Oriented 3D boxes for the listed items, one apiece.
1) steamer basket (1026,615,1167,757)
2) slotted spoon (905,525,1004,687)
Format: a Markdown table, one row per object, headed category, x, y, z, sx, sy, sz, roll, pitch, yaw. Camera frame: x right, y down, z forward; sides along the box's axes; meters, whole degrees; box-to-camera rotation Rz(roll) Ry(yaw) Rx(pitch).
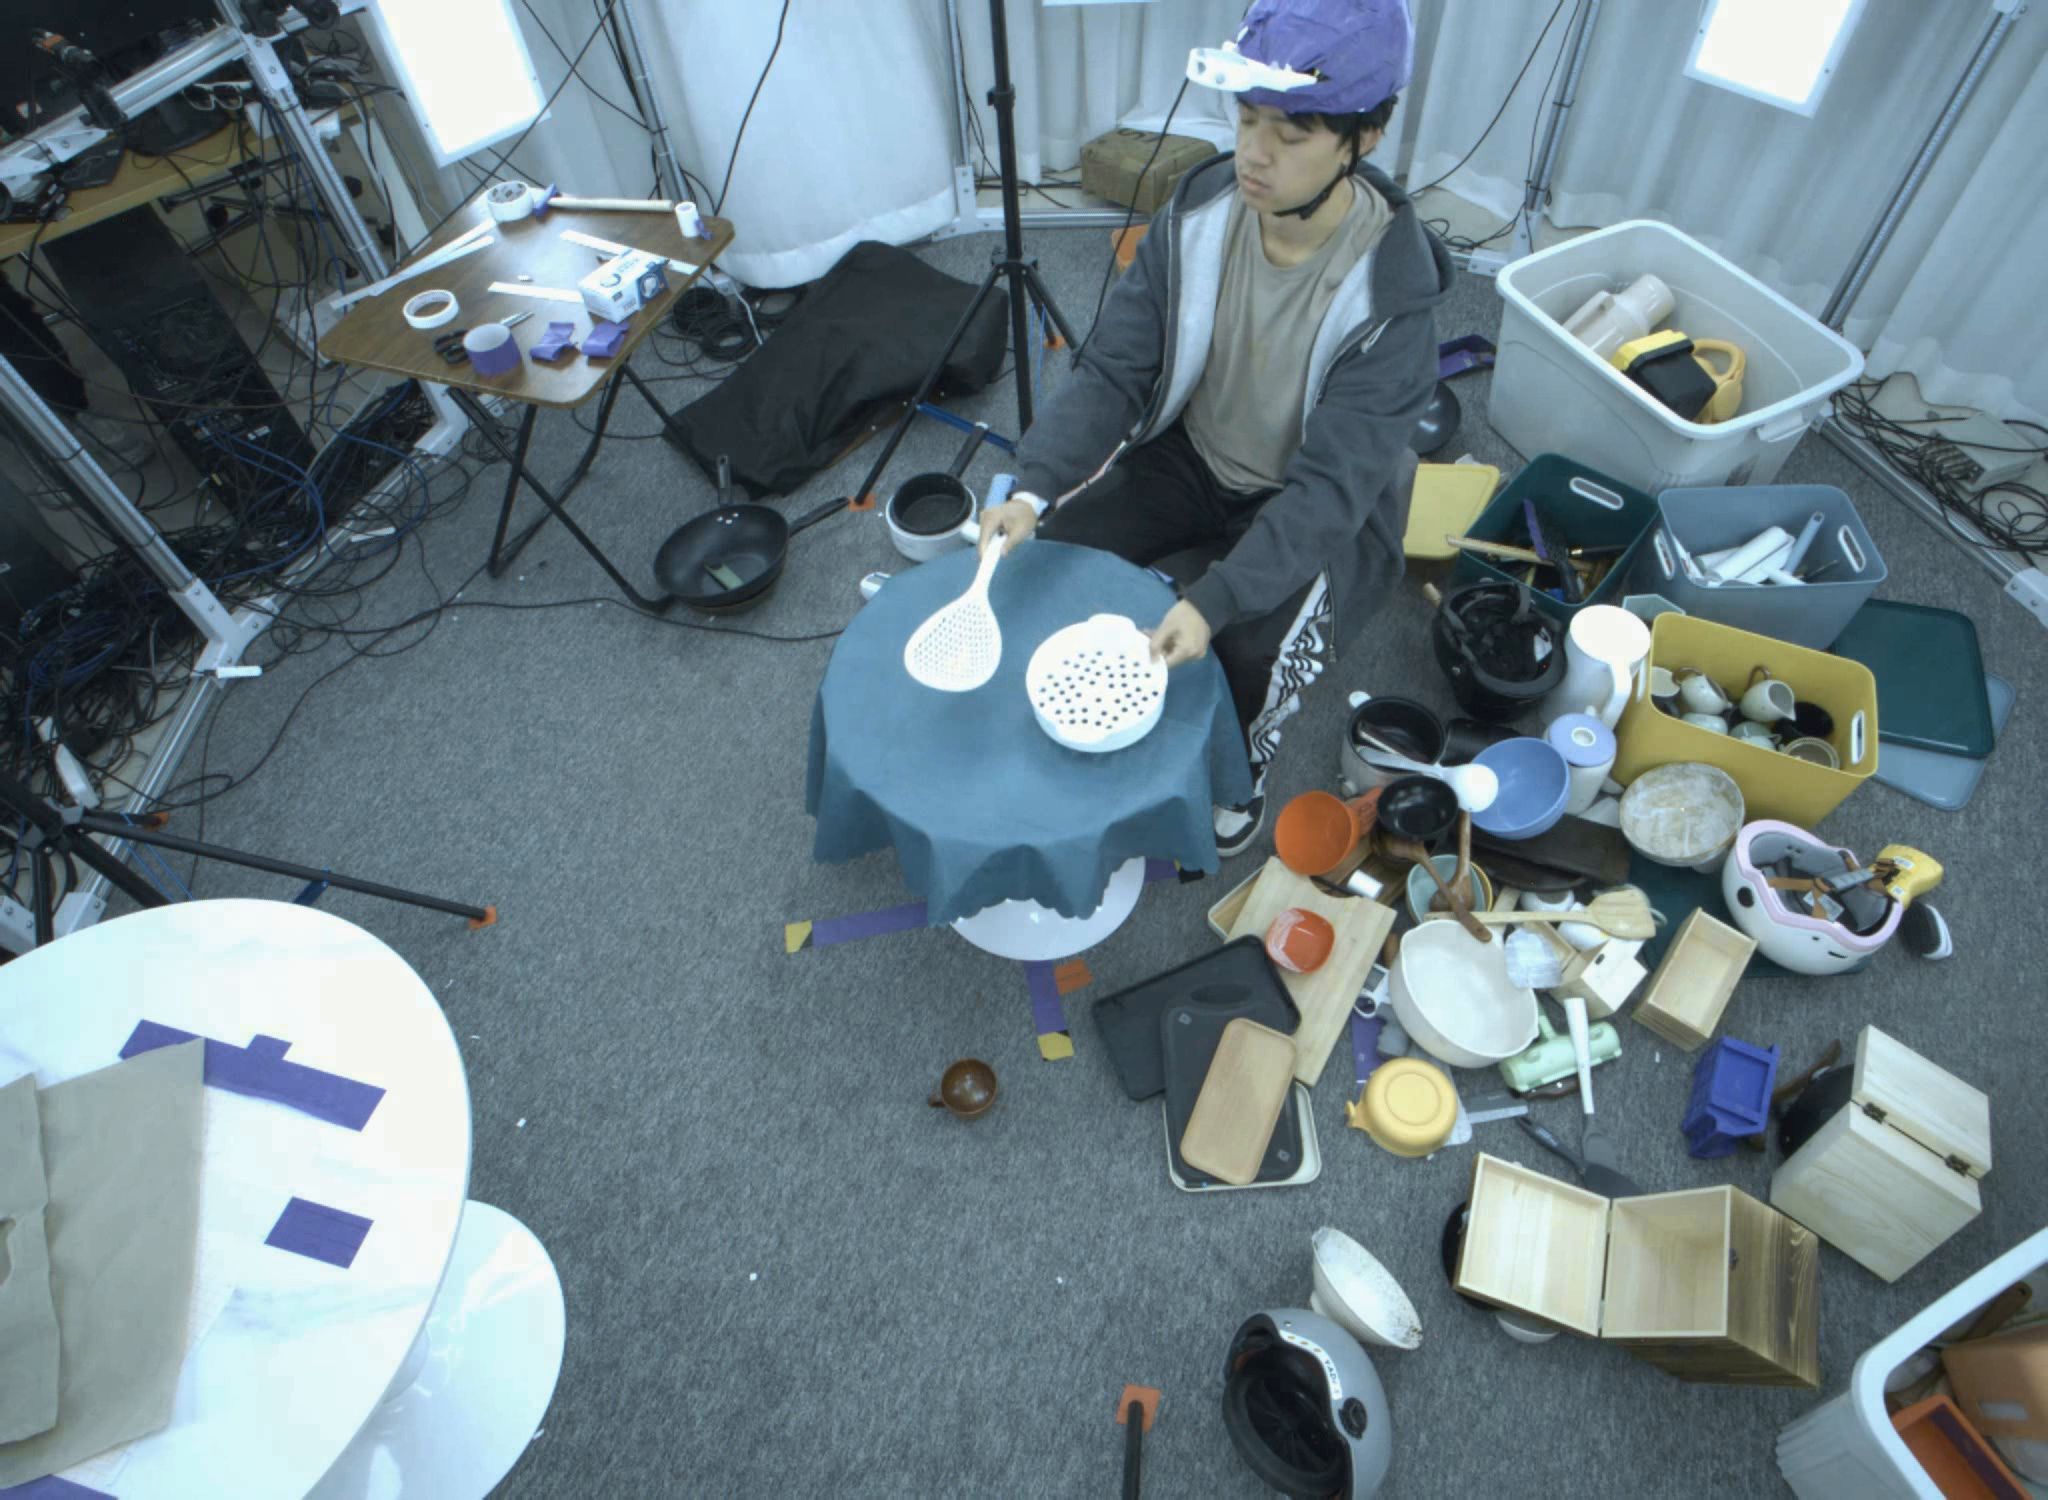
| category | x | y | z | sx | sy | sz | roll | pitch | yaw |
| --- | --- | --- | --- | --- | --- | --- | --- | --- | --- |
| steamer basket | 0.106 | -0.086 | 1.786 | 0.200 | 0.070 | 0.229 | 10 | 62 | 10 |
| slotted spoon | -0.072 | -0.221 | 1.809 | 0.136 | 0.051 | 0.346 | 10 | 58 | 9 |
